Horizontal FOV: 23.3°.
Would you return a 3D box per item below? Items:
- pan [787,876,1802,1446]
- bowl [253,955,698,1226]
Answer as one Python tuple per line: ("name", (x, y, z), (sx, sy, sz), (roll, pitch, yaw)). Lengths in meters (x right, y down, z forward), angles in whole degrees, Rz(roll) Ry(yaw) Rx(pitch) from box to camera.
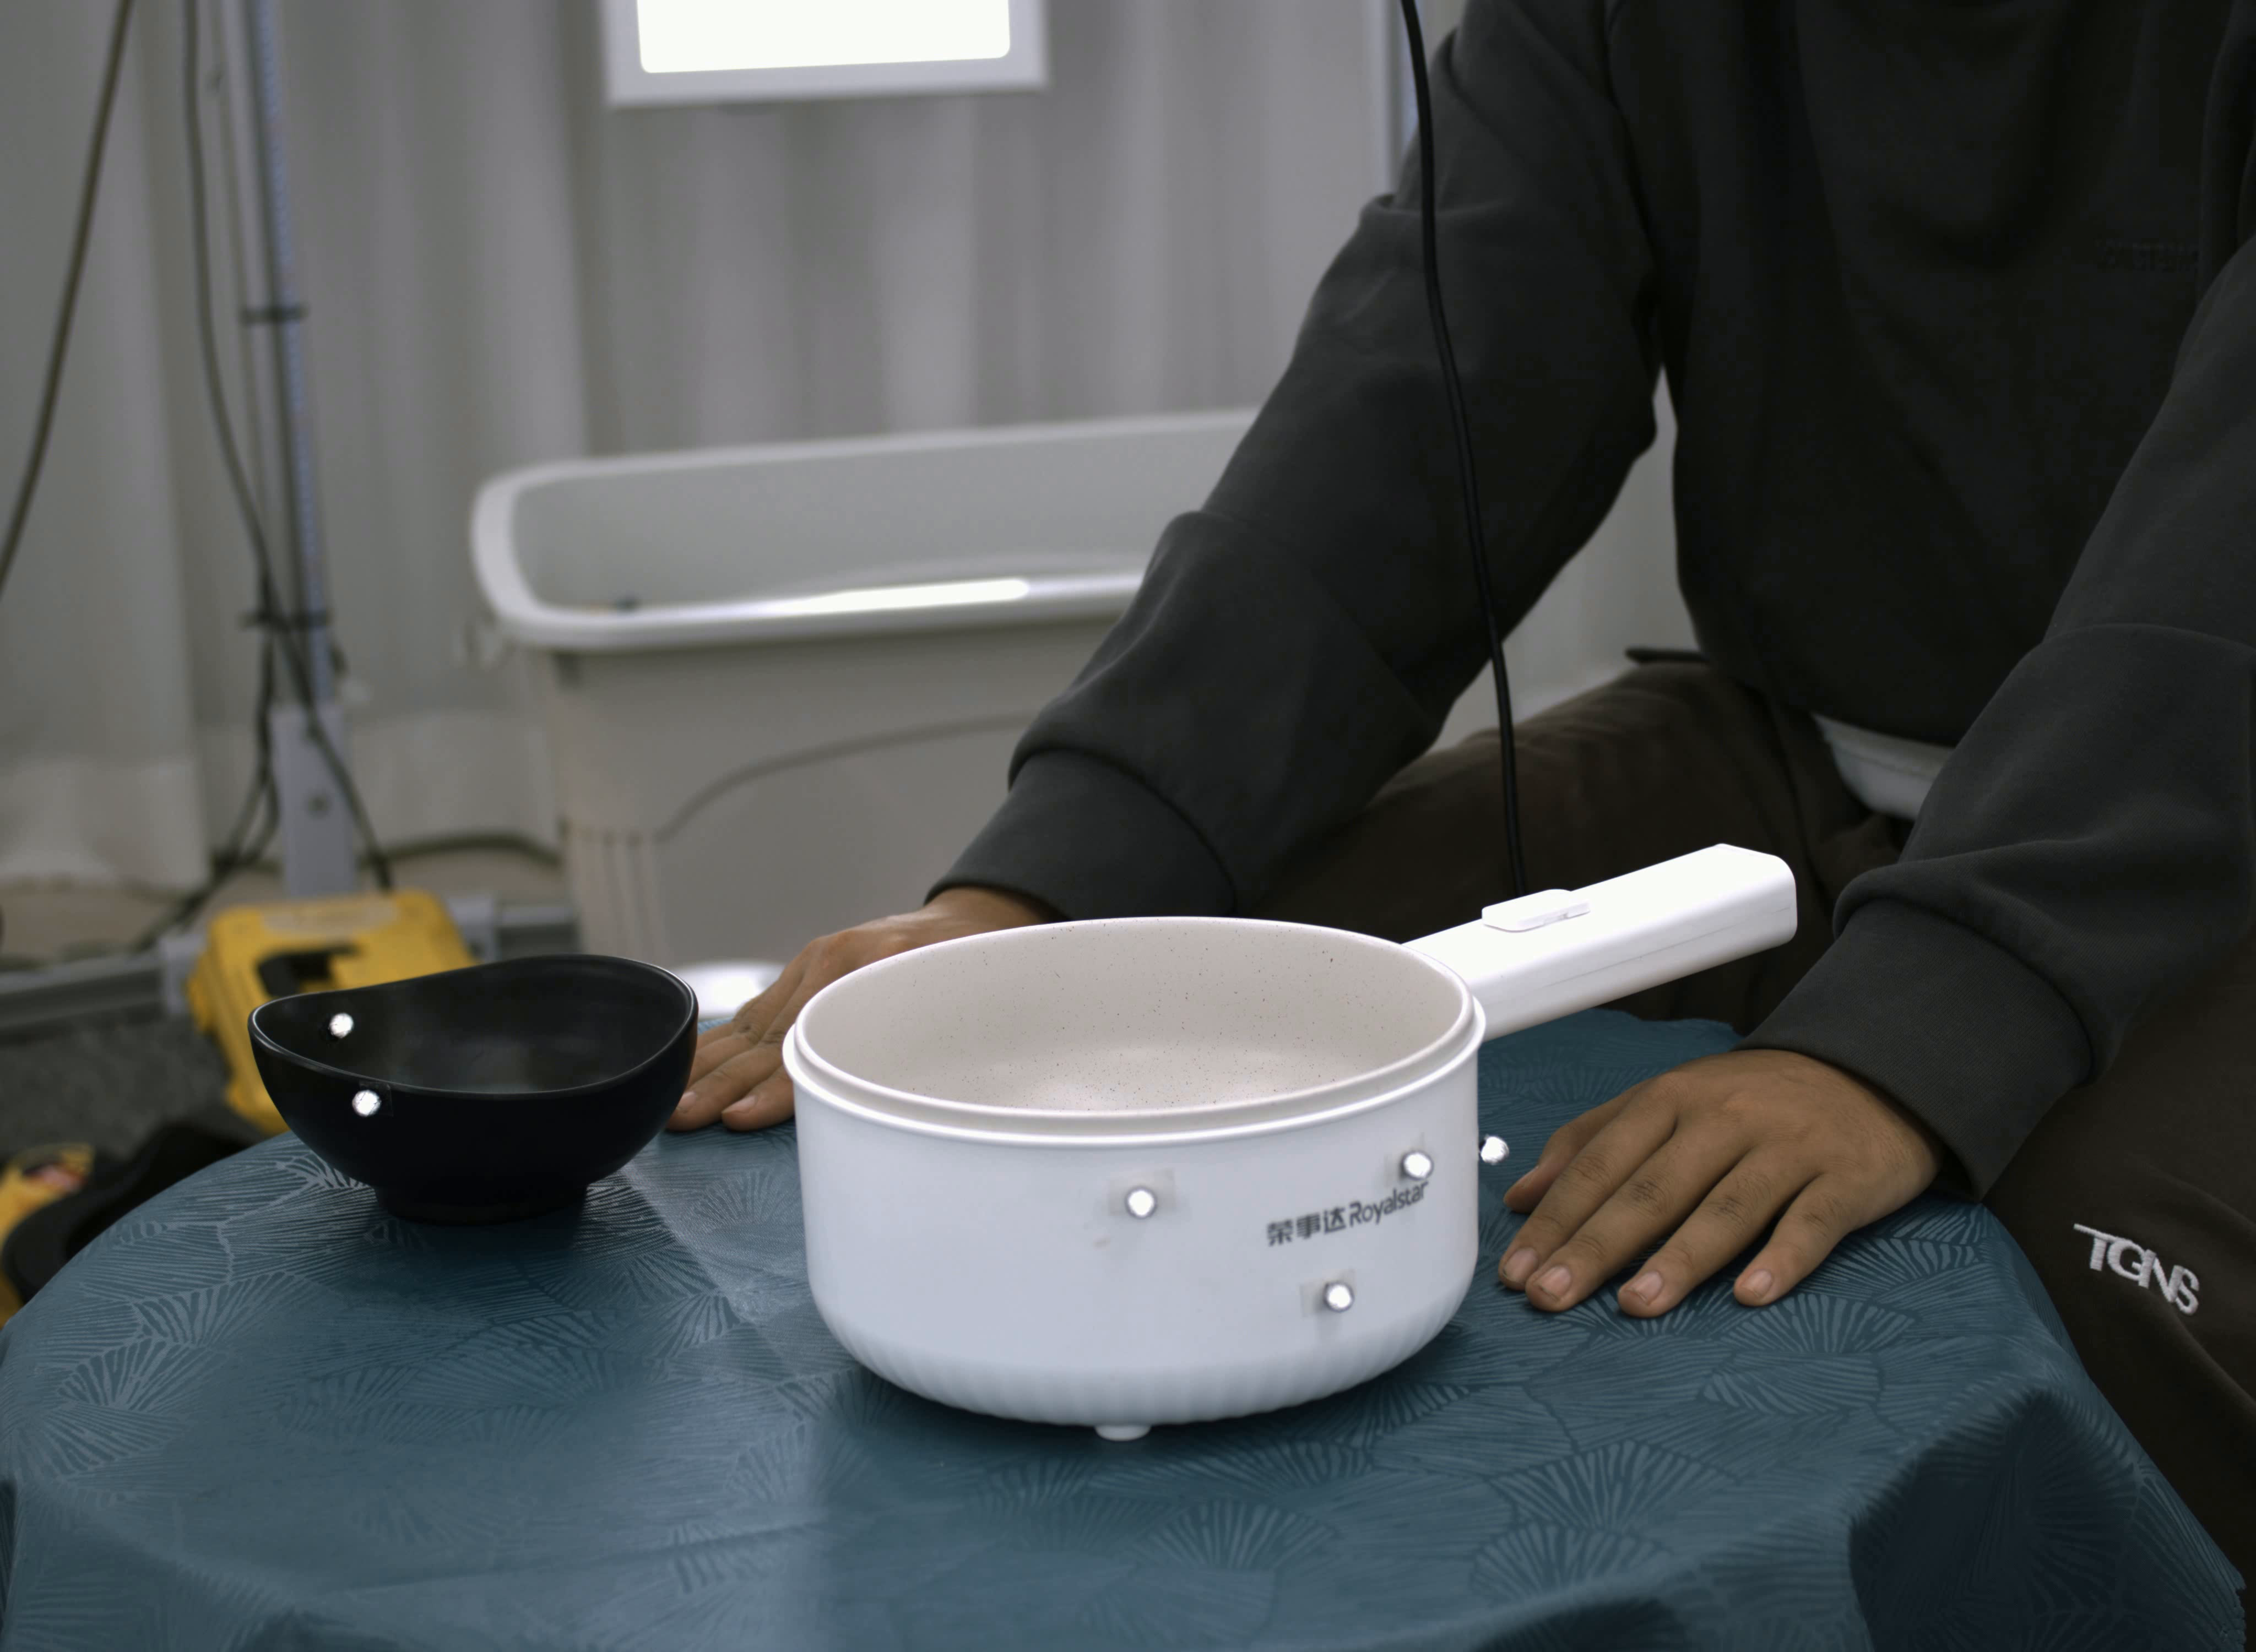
("pan", (0.063, 0.092, 1.621), (0.353, 0.102, 0.202), (-12, 15, -38))
("bowl", (-0.206, 0.087, 1.733), (0.137, 0.066, 0.171), (-10, 15, -26))
